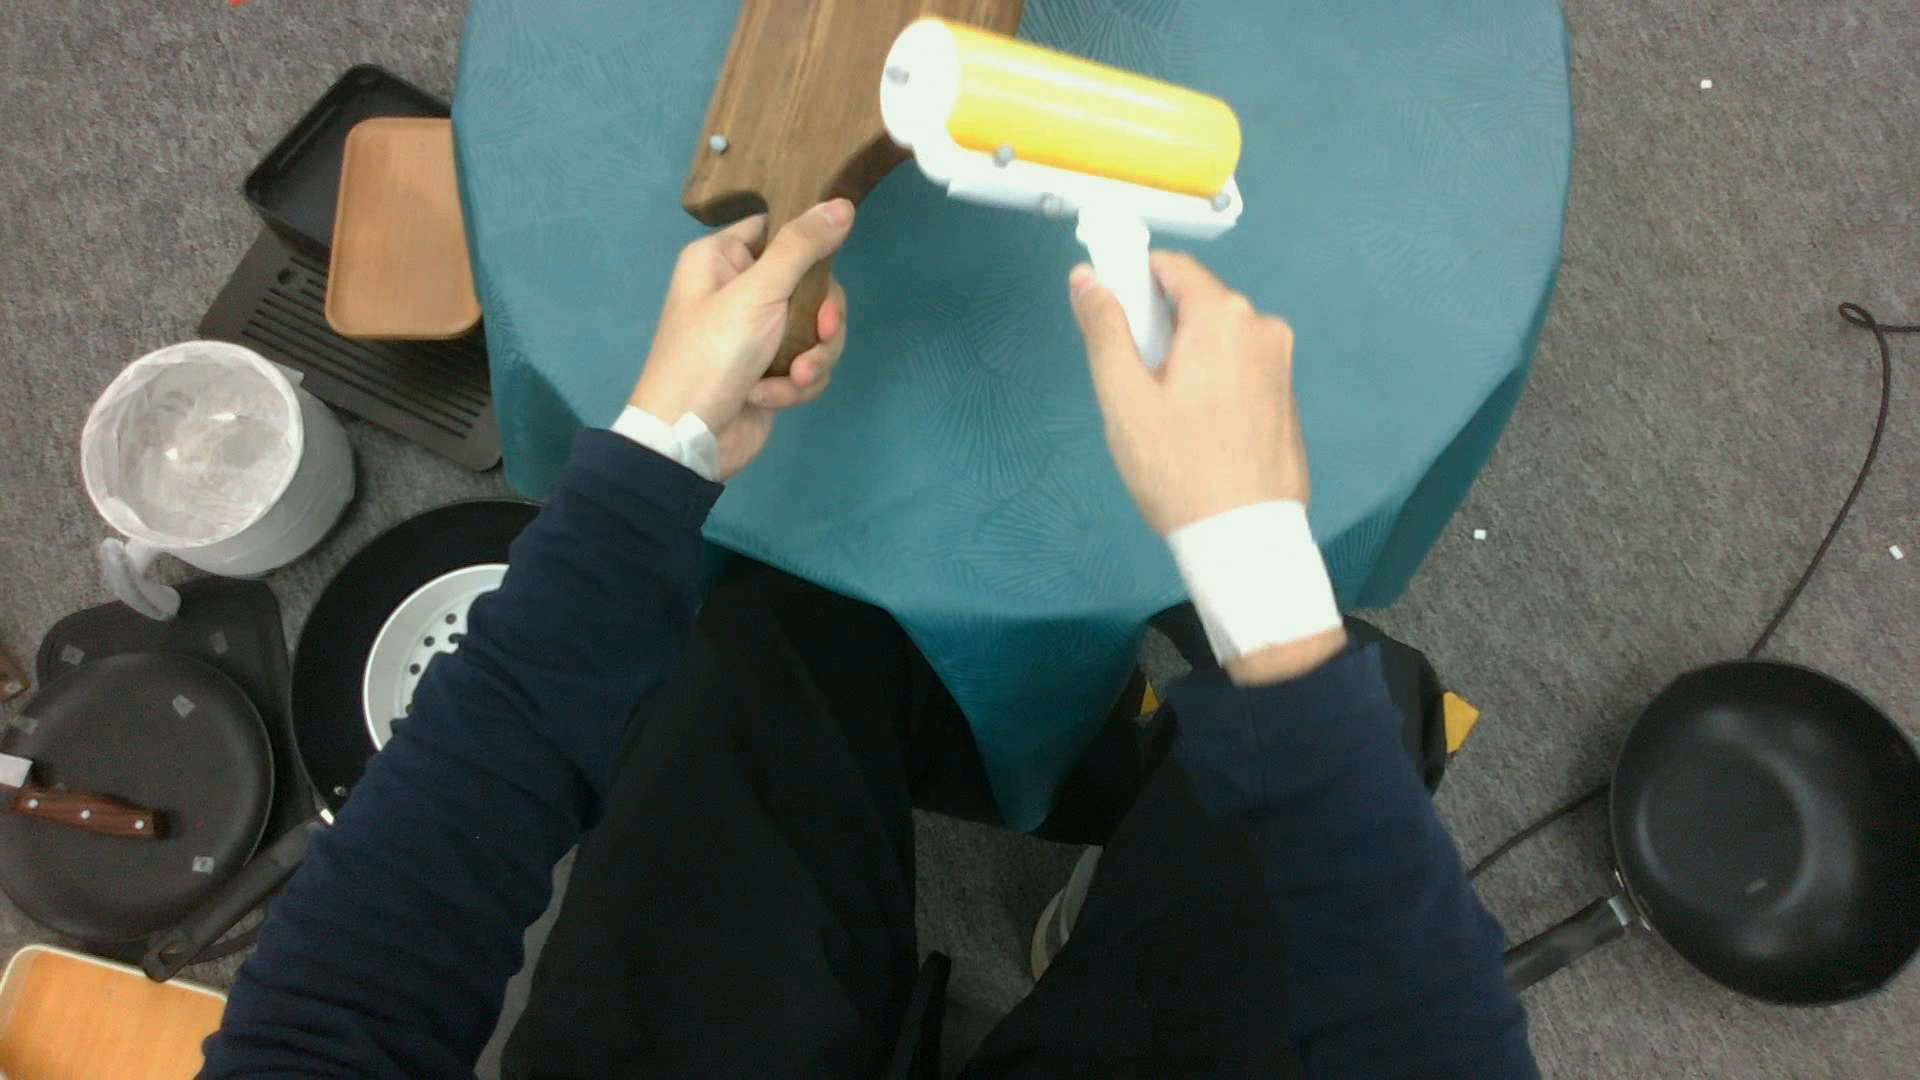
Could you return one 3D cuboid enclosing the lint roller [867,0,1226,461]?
[{"bbox_3d":[0.067,-0.124,0.538,0.175,0.051,0.192,-4,61,-43],"label":"lint roller"}]

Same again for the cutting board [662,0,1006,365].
[{"bbox_3d":[-0.056,-0.241,0.645,0.200,0.023,0.353,-6,64,41],"label":"cutting board"}]
